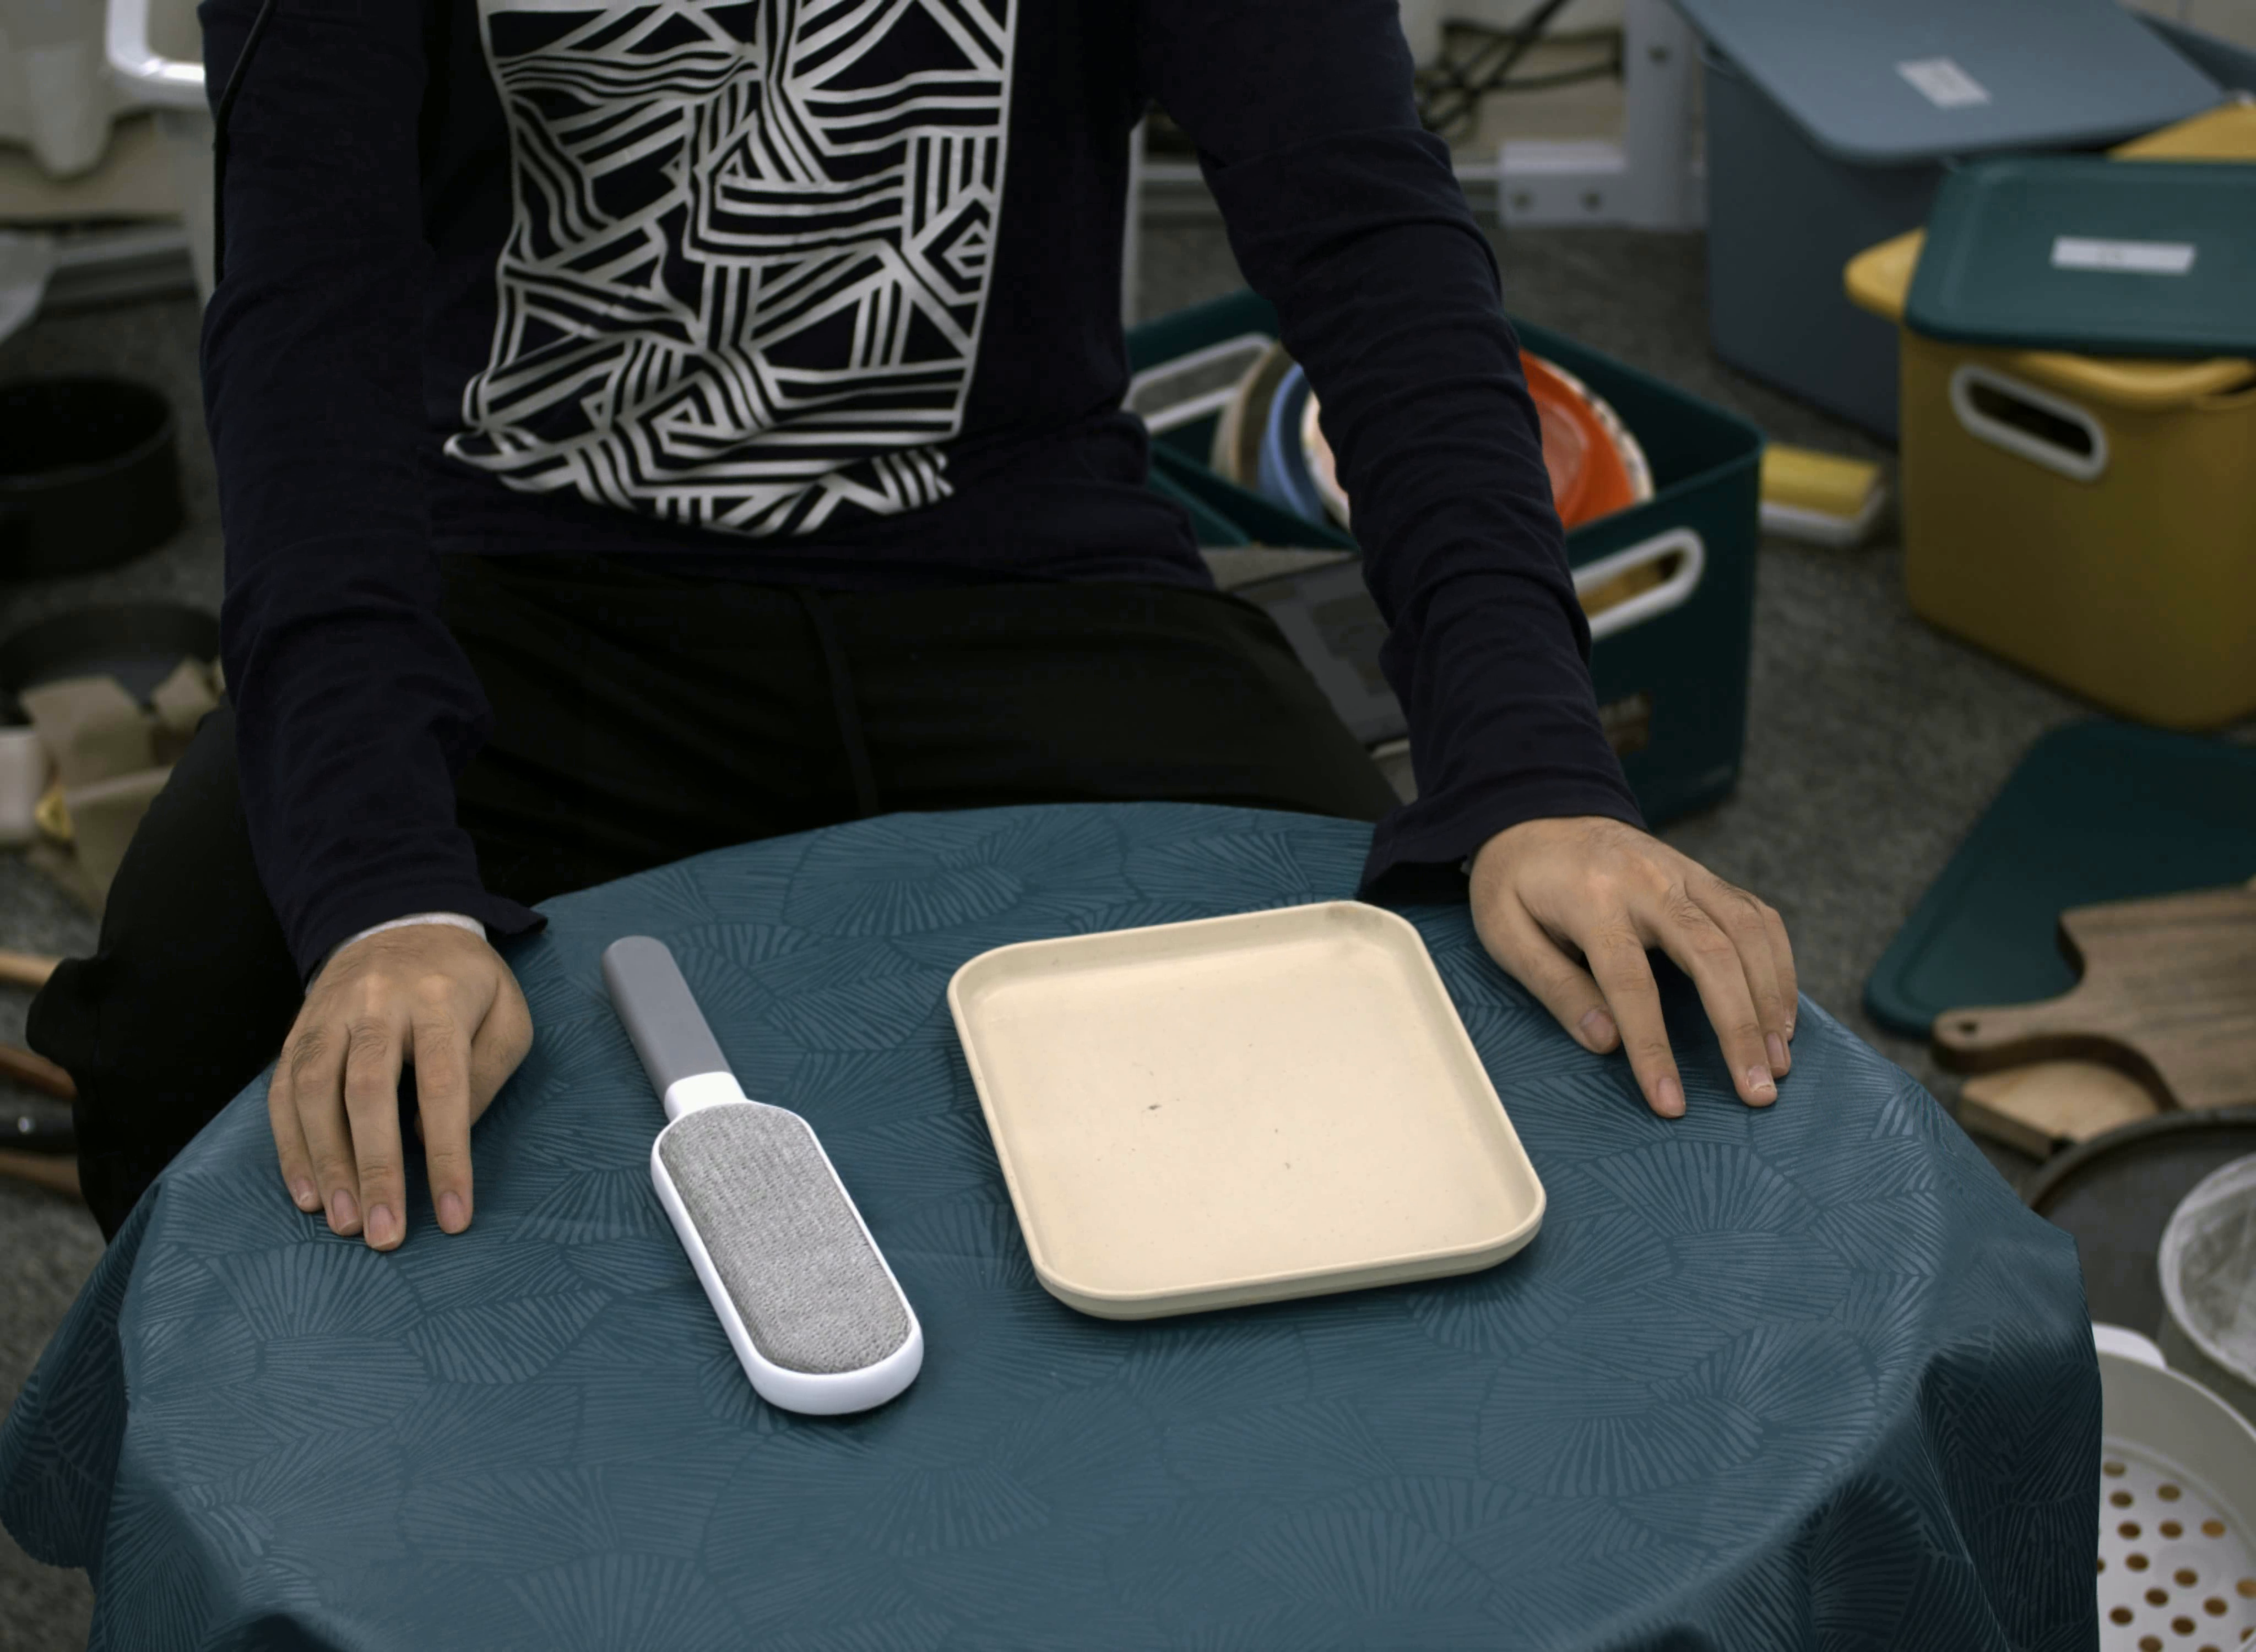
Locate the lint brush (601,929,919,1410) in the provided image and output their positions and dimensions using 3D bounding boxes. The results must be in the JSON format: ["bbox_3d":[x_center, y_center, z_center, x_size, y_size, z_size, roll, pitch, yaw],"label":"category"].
[{"bbox_3d":[-0.130,0.109,1.870,0.060,0.021,0.312,-15,29,-12],"label":"lint brush"}]

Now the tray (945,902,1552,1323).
[{"bbox_3d":[0.037,0.095,1.891,0.171,0.017,0.242,-8,28,-9],"label":"tray"}]
